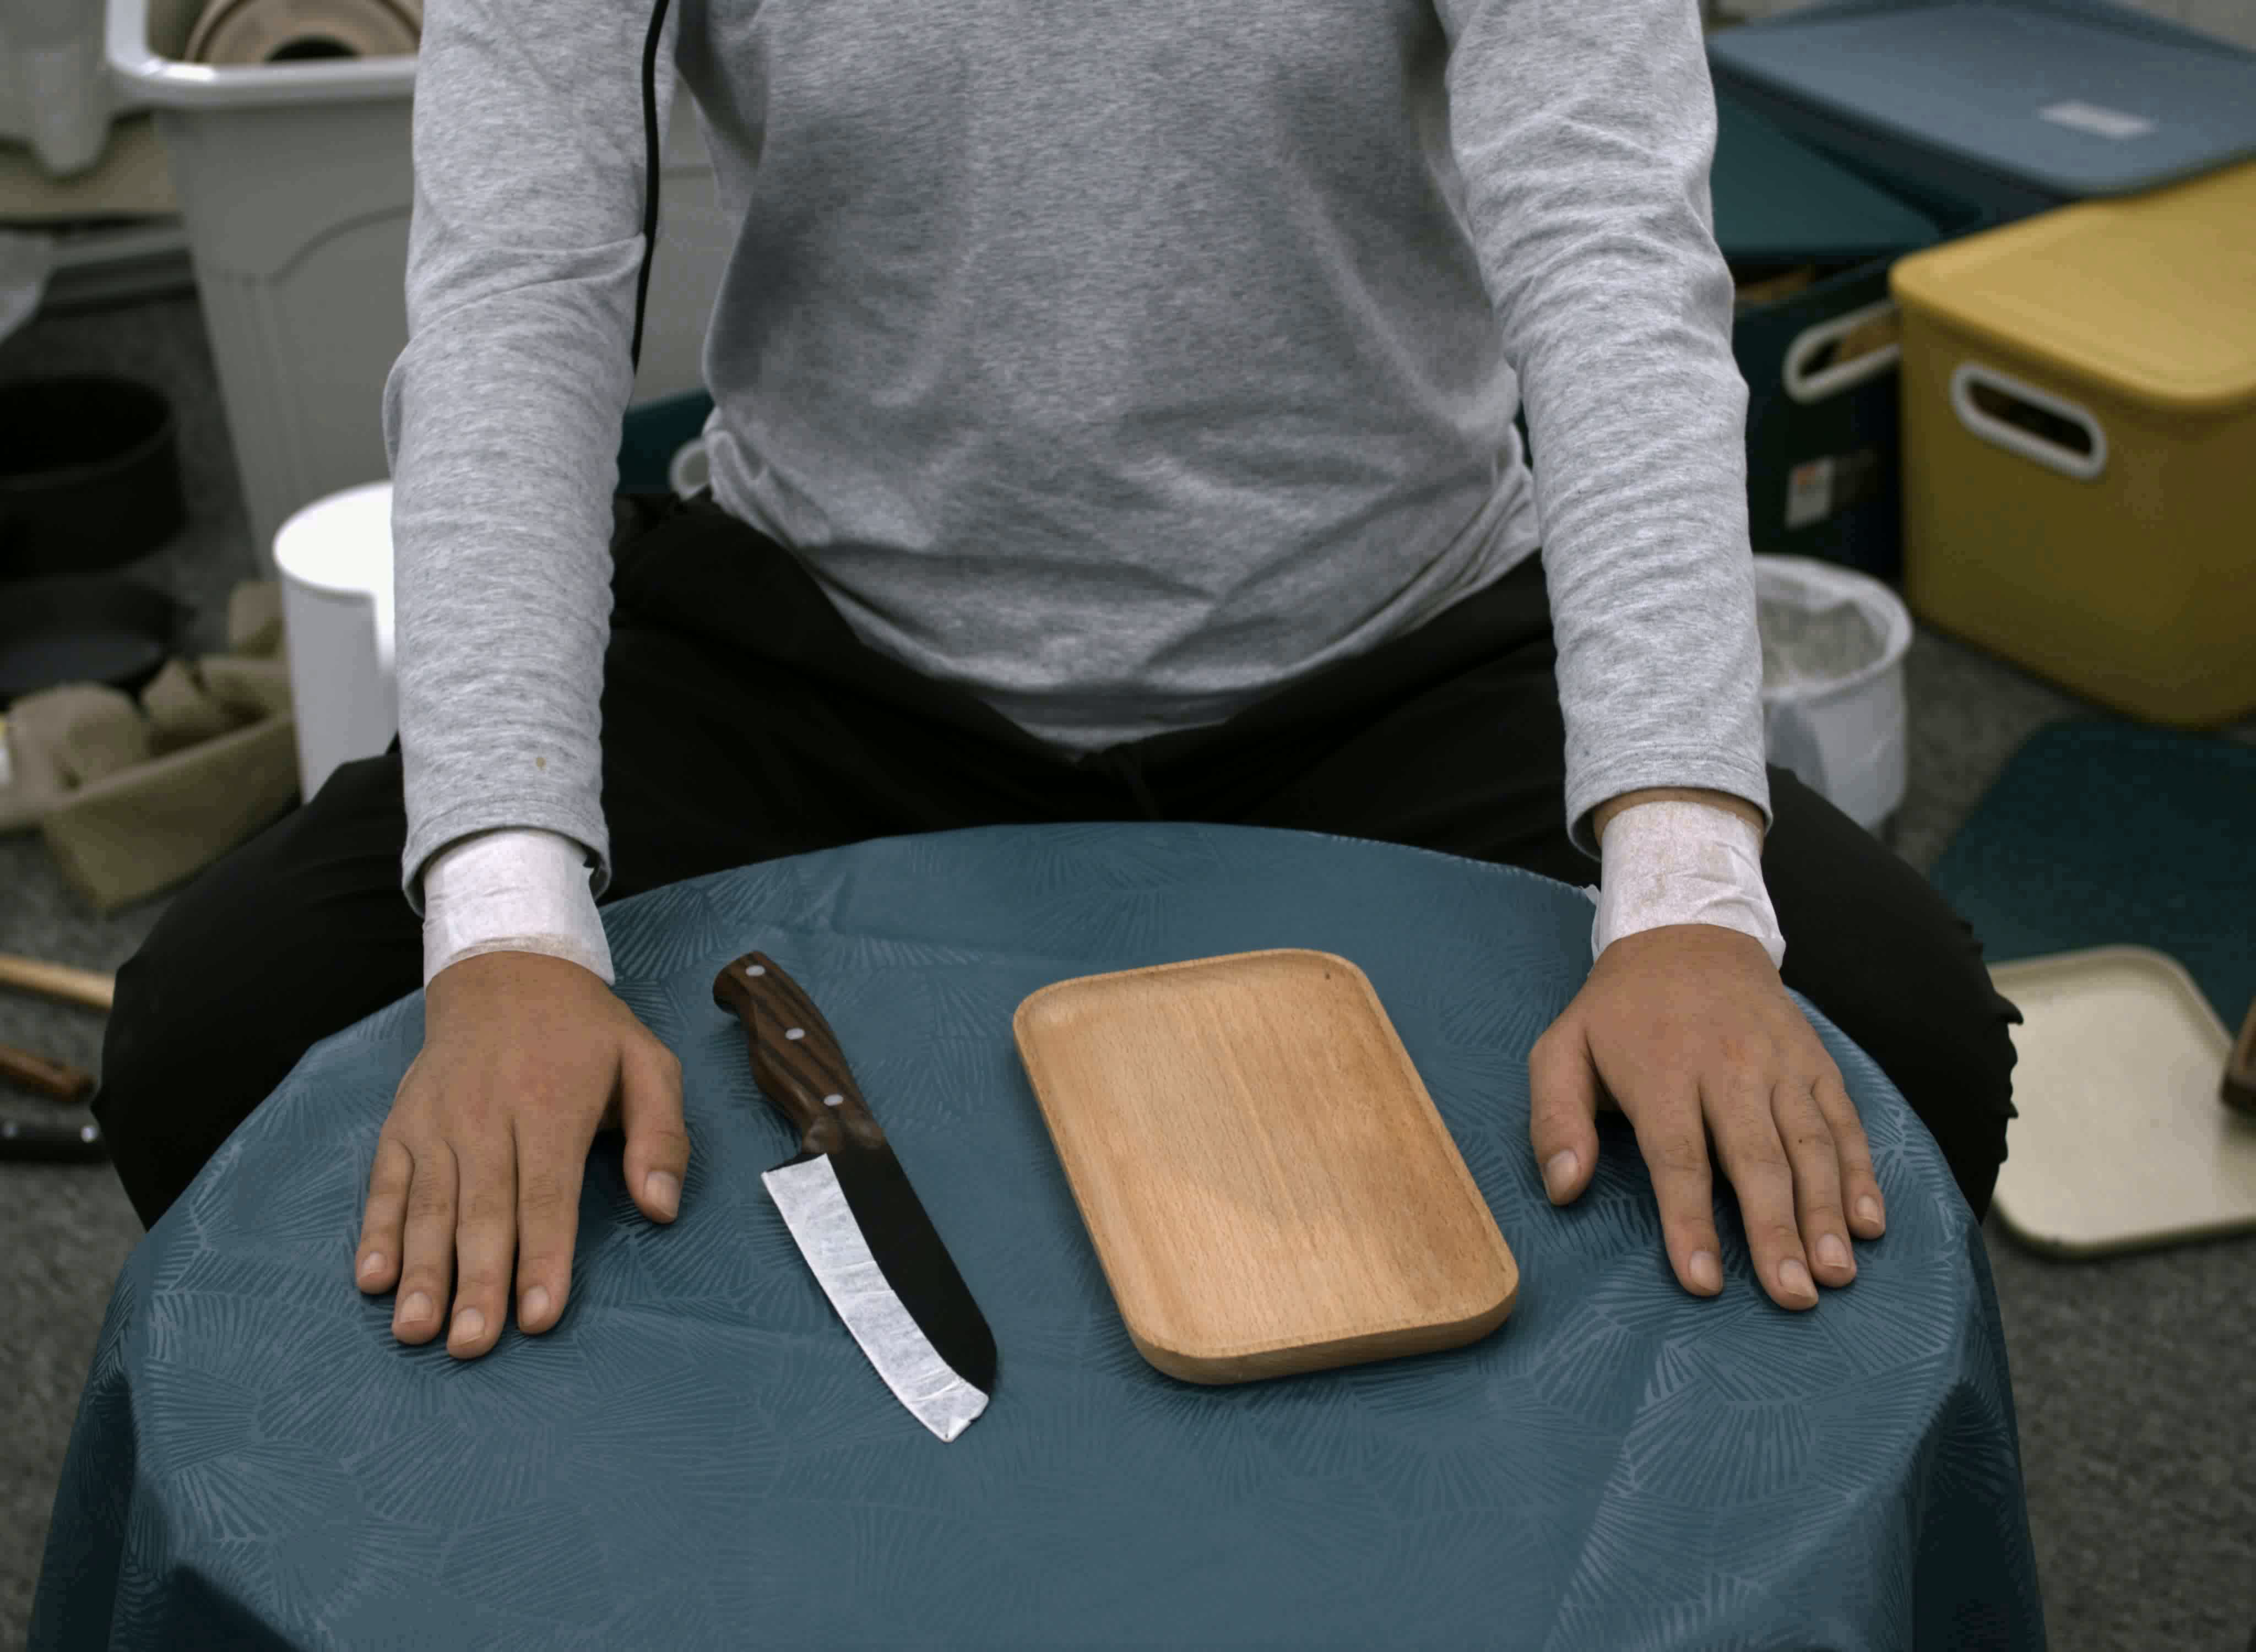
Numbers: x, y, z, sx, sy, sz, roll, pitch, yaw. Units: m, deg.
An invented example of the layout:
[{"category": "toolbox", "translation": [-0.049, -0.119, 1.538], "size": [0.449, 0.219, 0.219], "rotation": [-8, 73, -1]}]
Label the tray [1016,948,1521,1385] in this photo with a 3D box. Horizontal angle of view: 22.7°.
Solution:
[{"category": "tray", "translation": [0.043, 0.110, 1.863], "size": [0.130, 0.022, 0.253], "rotation": [-5, 26, -9]}]

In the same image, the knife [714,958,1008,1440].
[{"category": "knife", "translation": [-0.092, 0.122, 1.855], "size": [0.050, 0.020, 0.292], "rotation": [-14, 31, -11]}]
